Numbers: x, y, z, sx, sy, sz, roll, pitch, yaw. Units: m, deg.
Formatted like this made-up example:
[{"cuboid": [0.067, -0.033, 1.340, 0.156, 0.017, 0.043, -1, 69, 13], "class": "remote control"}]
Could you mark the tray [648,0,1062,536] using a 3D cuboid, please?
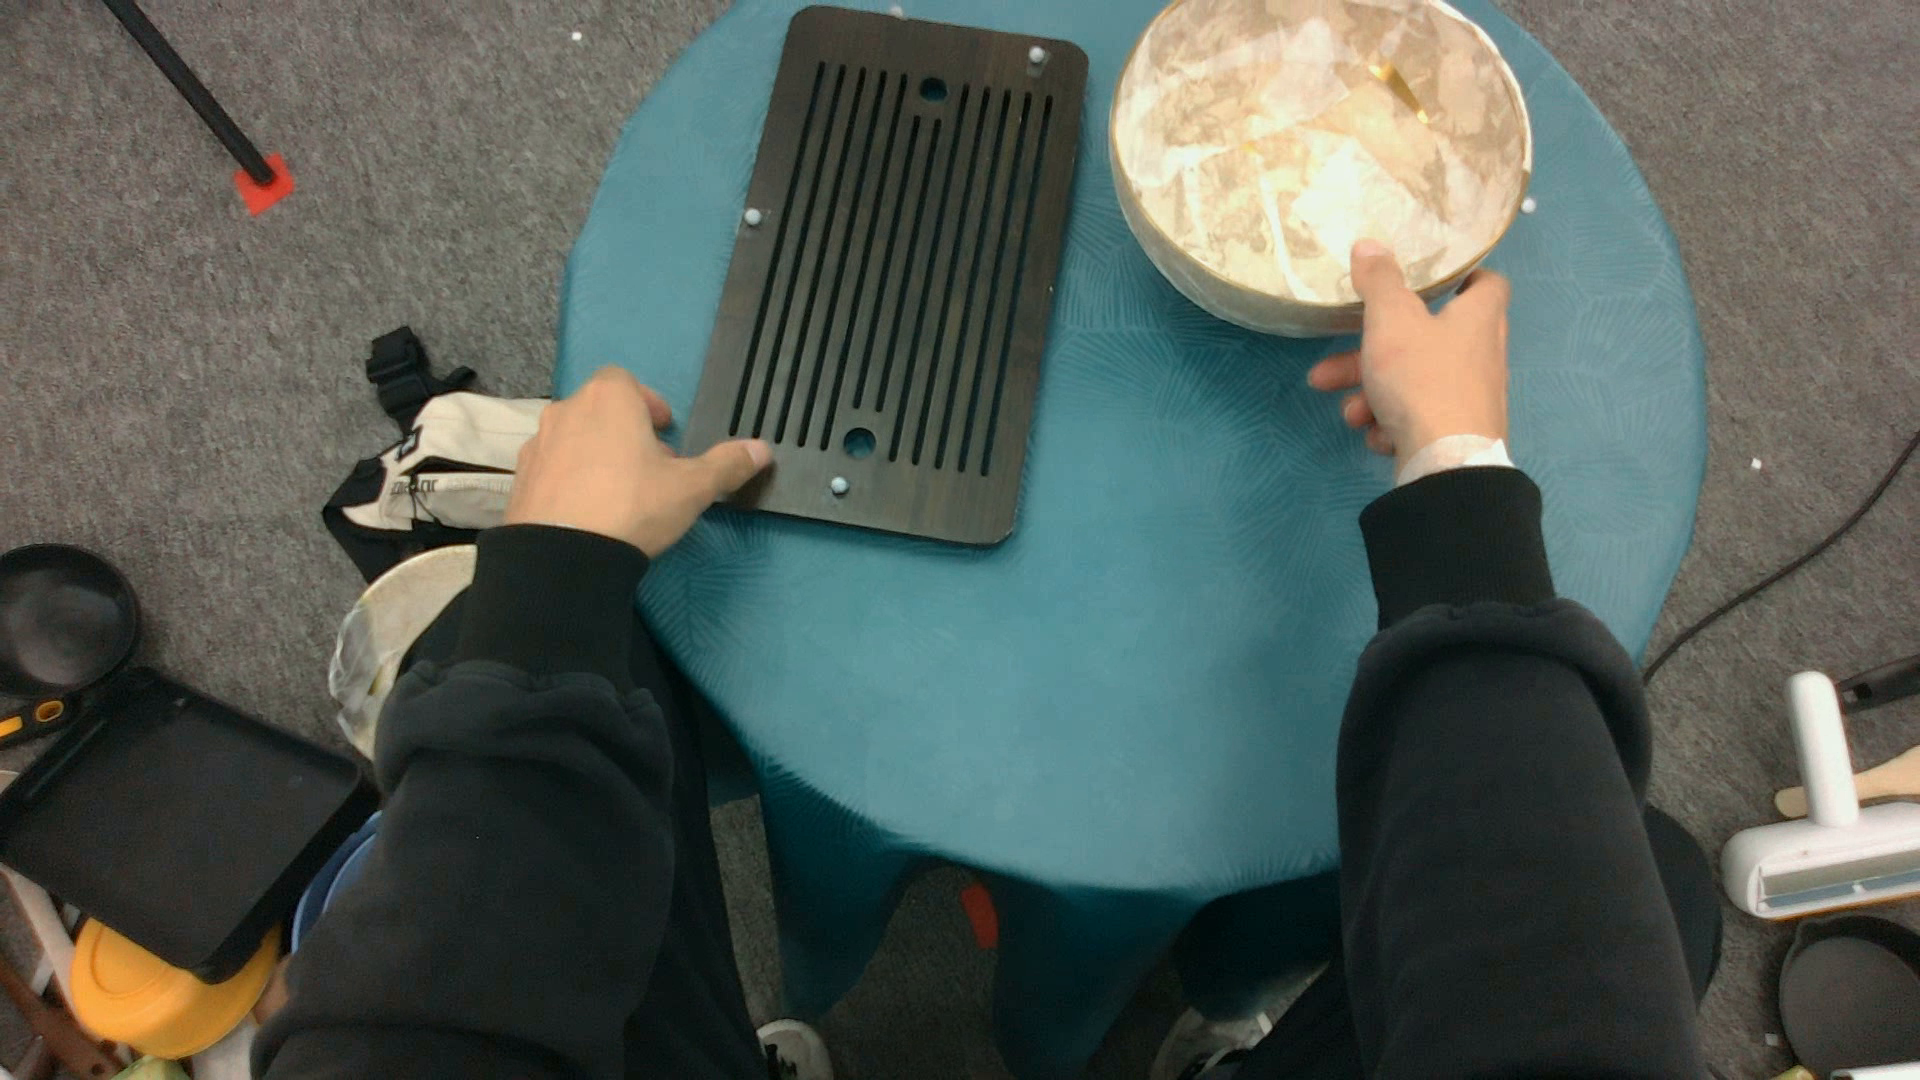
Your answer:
[{"cuboid": [-0.048, -0.152, 0.728, 0.170, 0.018, 0.307, 9, 69, 2], "class": "tray"}]

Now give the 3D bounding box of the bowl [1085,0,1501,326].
[{"cuboid": [0.158, -0.189, 0.708, 0.215, 0.094, 0.215, 1, 69, -3], "class": "bowl"}]
